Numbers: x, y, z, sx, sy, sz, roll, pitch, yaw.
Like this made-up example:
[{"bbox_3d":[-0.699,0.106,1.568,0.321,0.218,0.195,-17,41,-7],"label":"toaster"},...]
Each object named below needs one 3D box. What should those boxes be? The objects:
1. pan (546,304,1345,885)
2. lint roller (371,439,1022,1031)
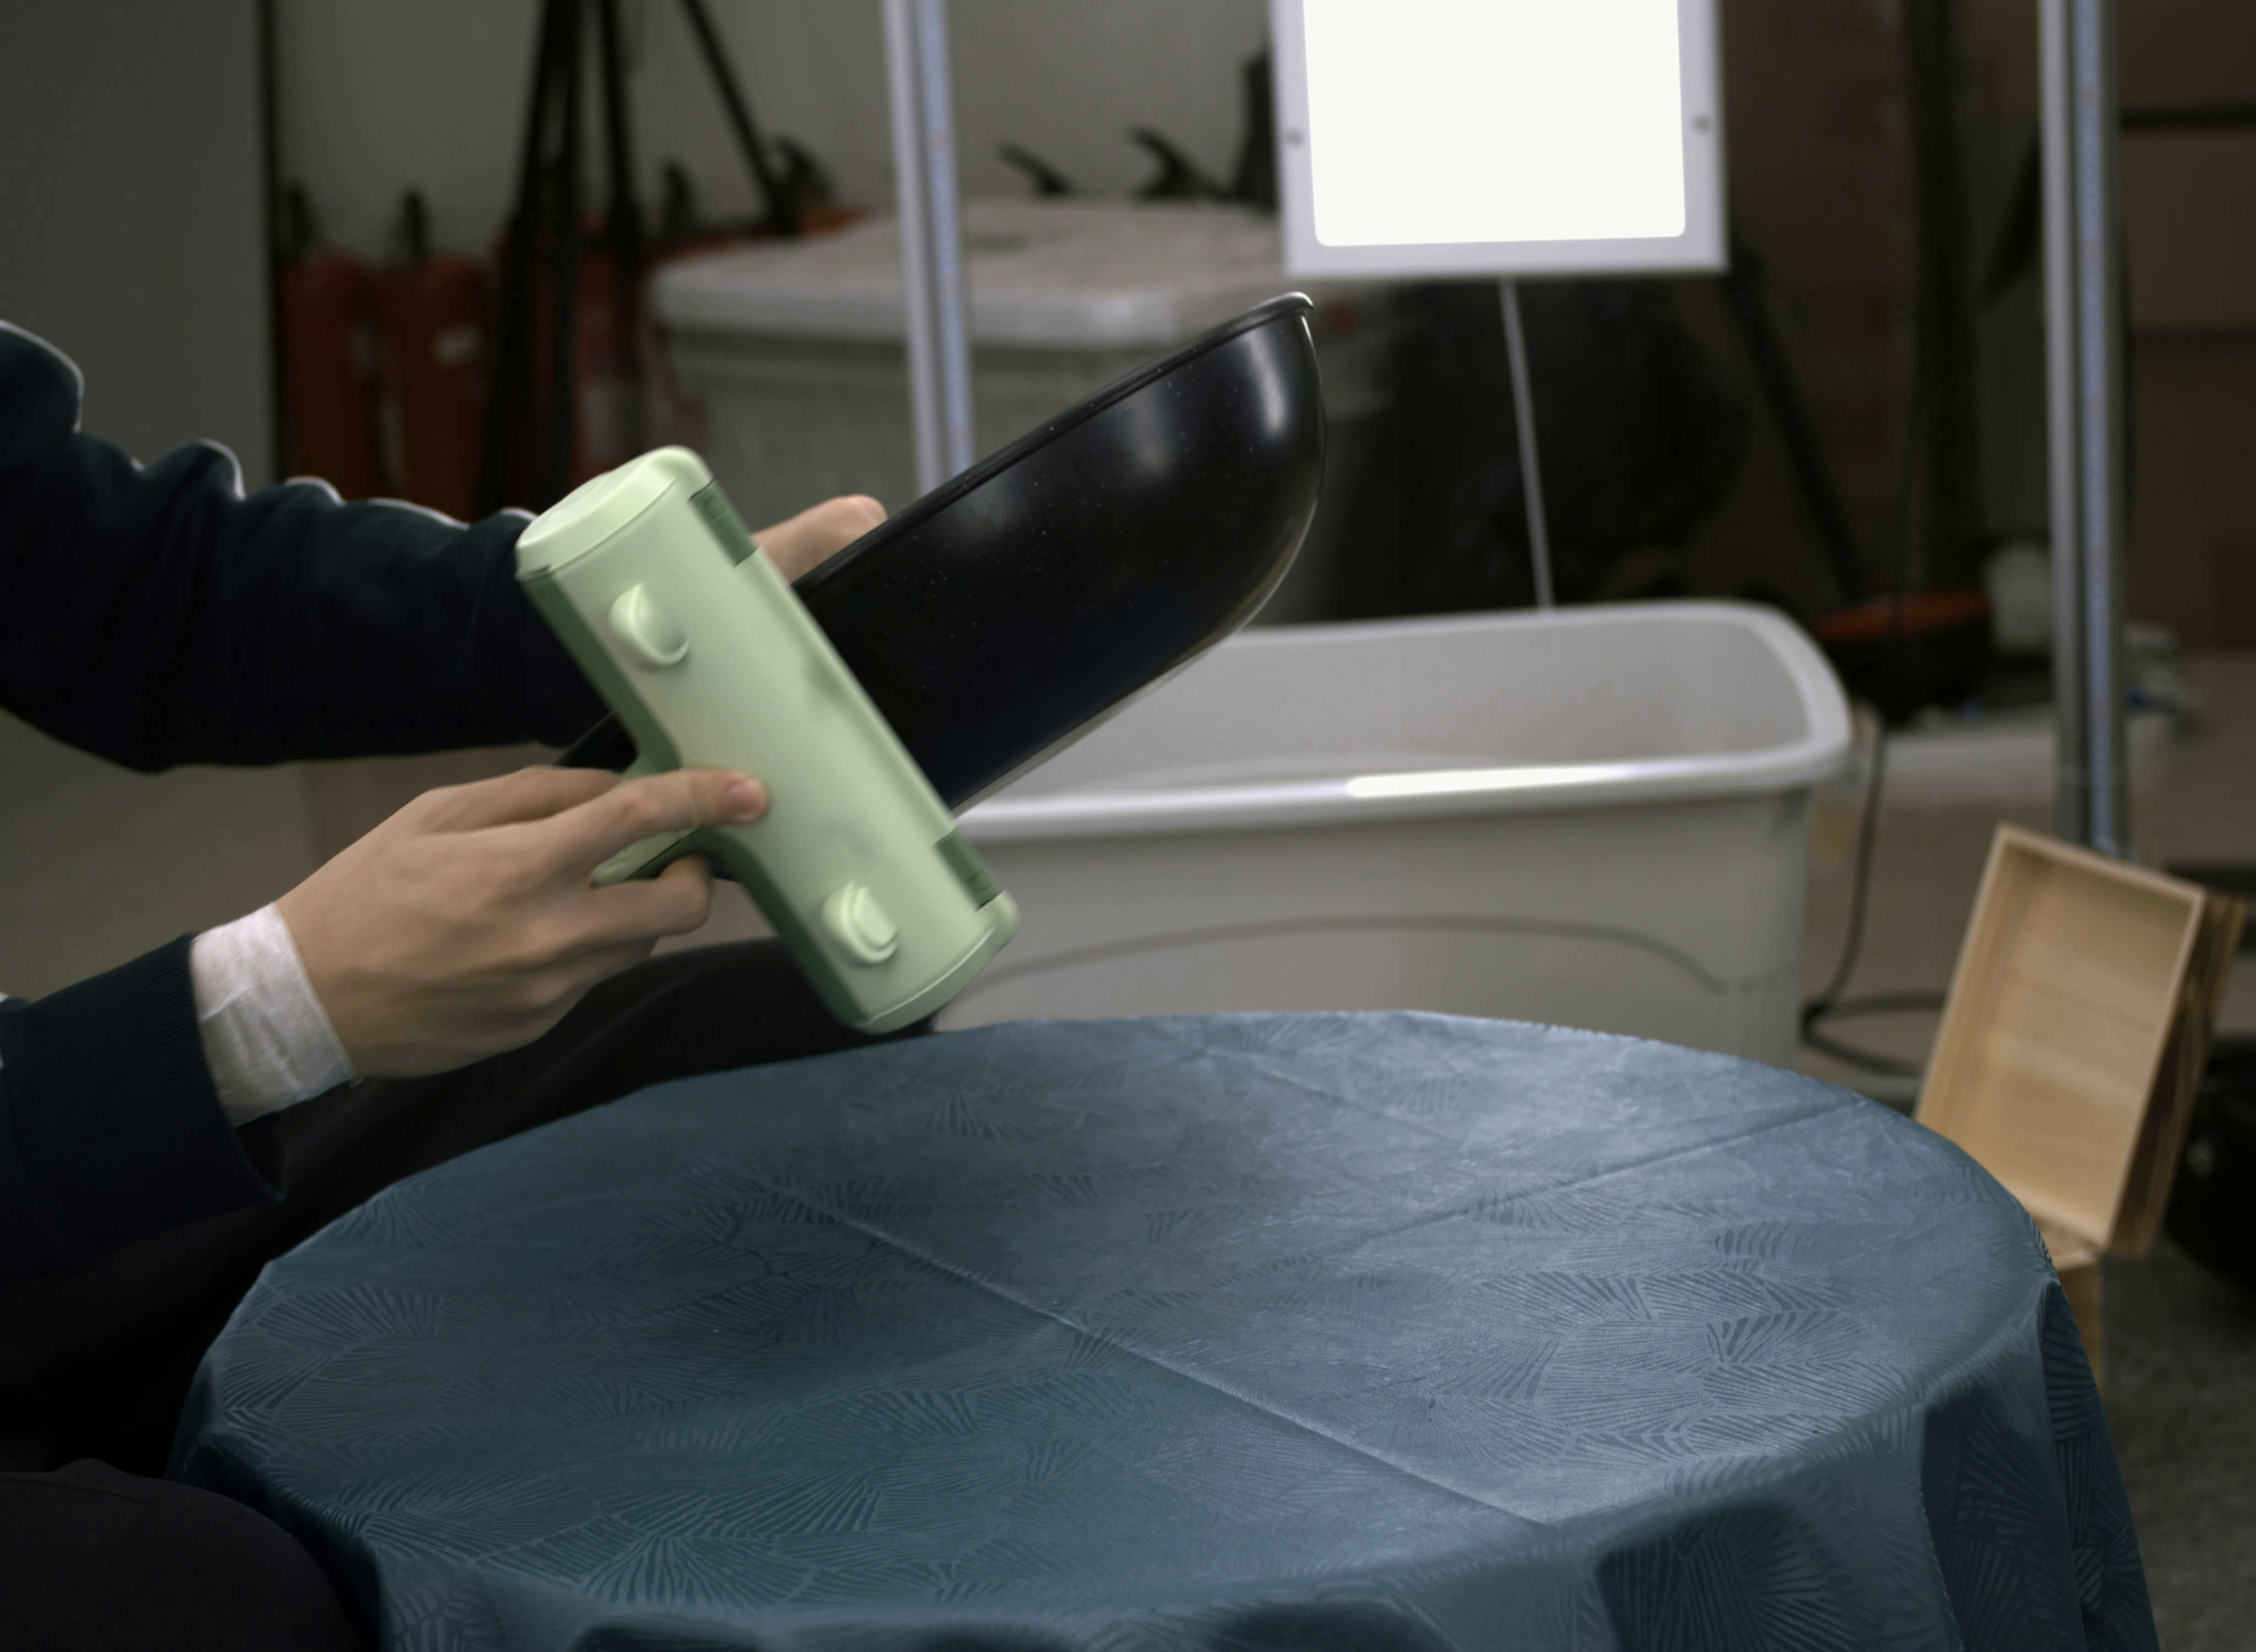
[{"bbox_3d":[-0.066,-0.060,1.949,0.307,0.112,0.481,-31,-1,-12],"label":"pan"},{"bbox_3d":[-0.157,0.008,1.716,0.183,0.198,0.083,-36,14,-2],"label":"lint roller"}]
